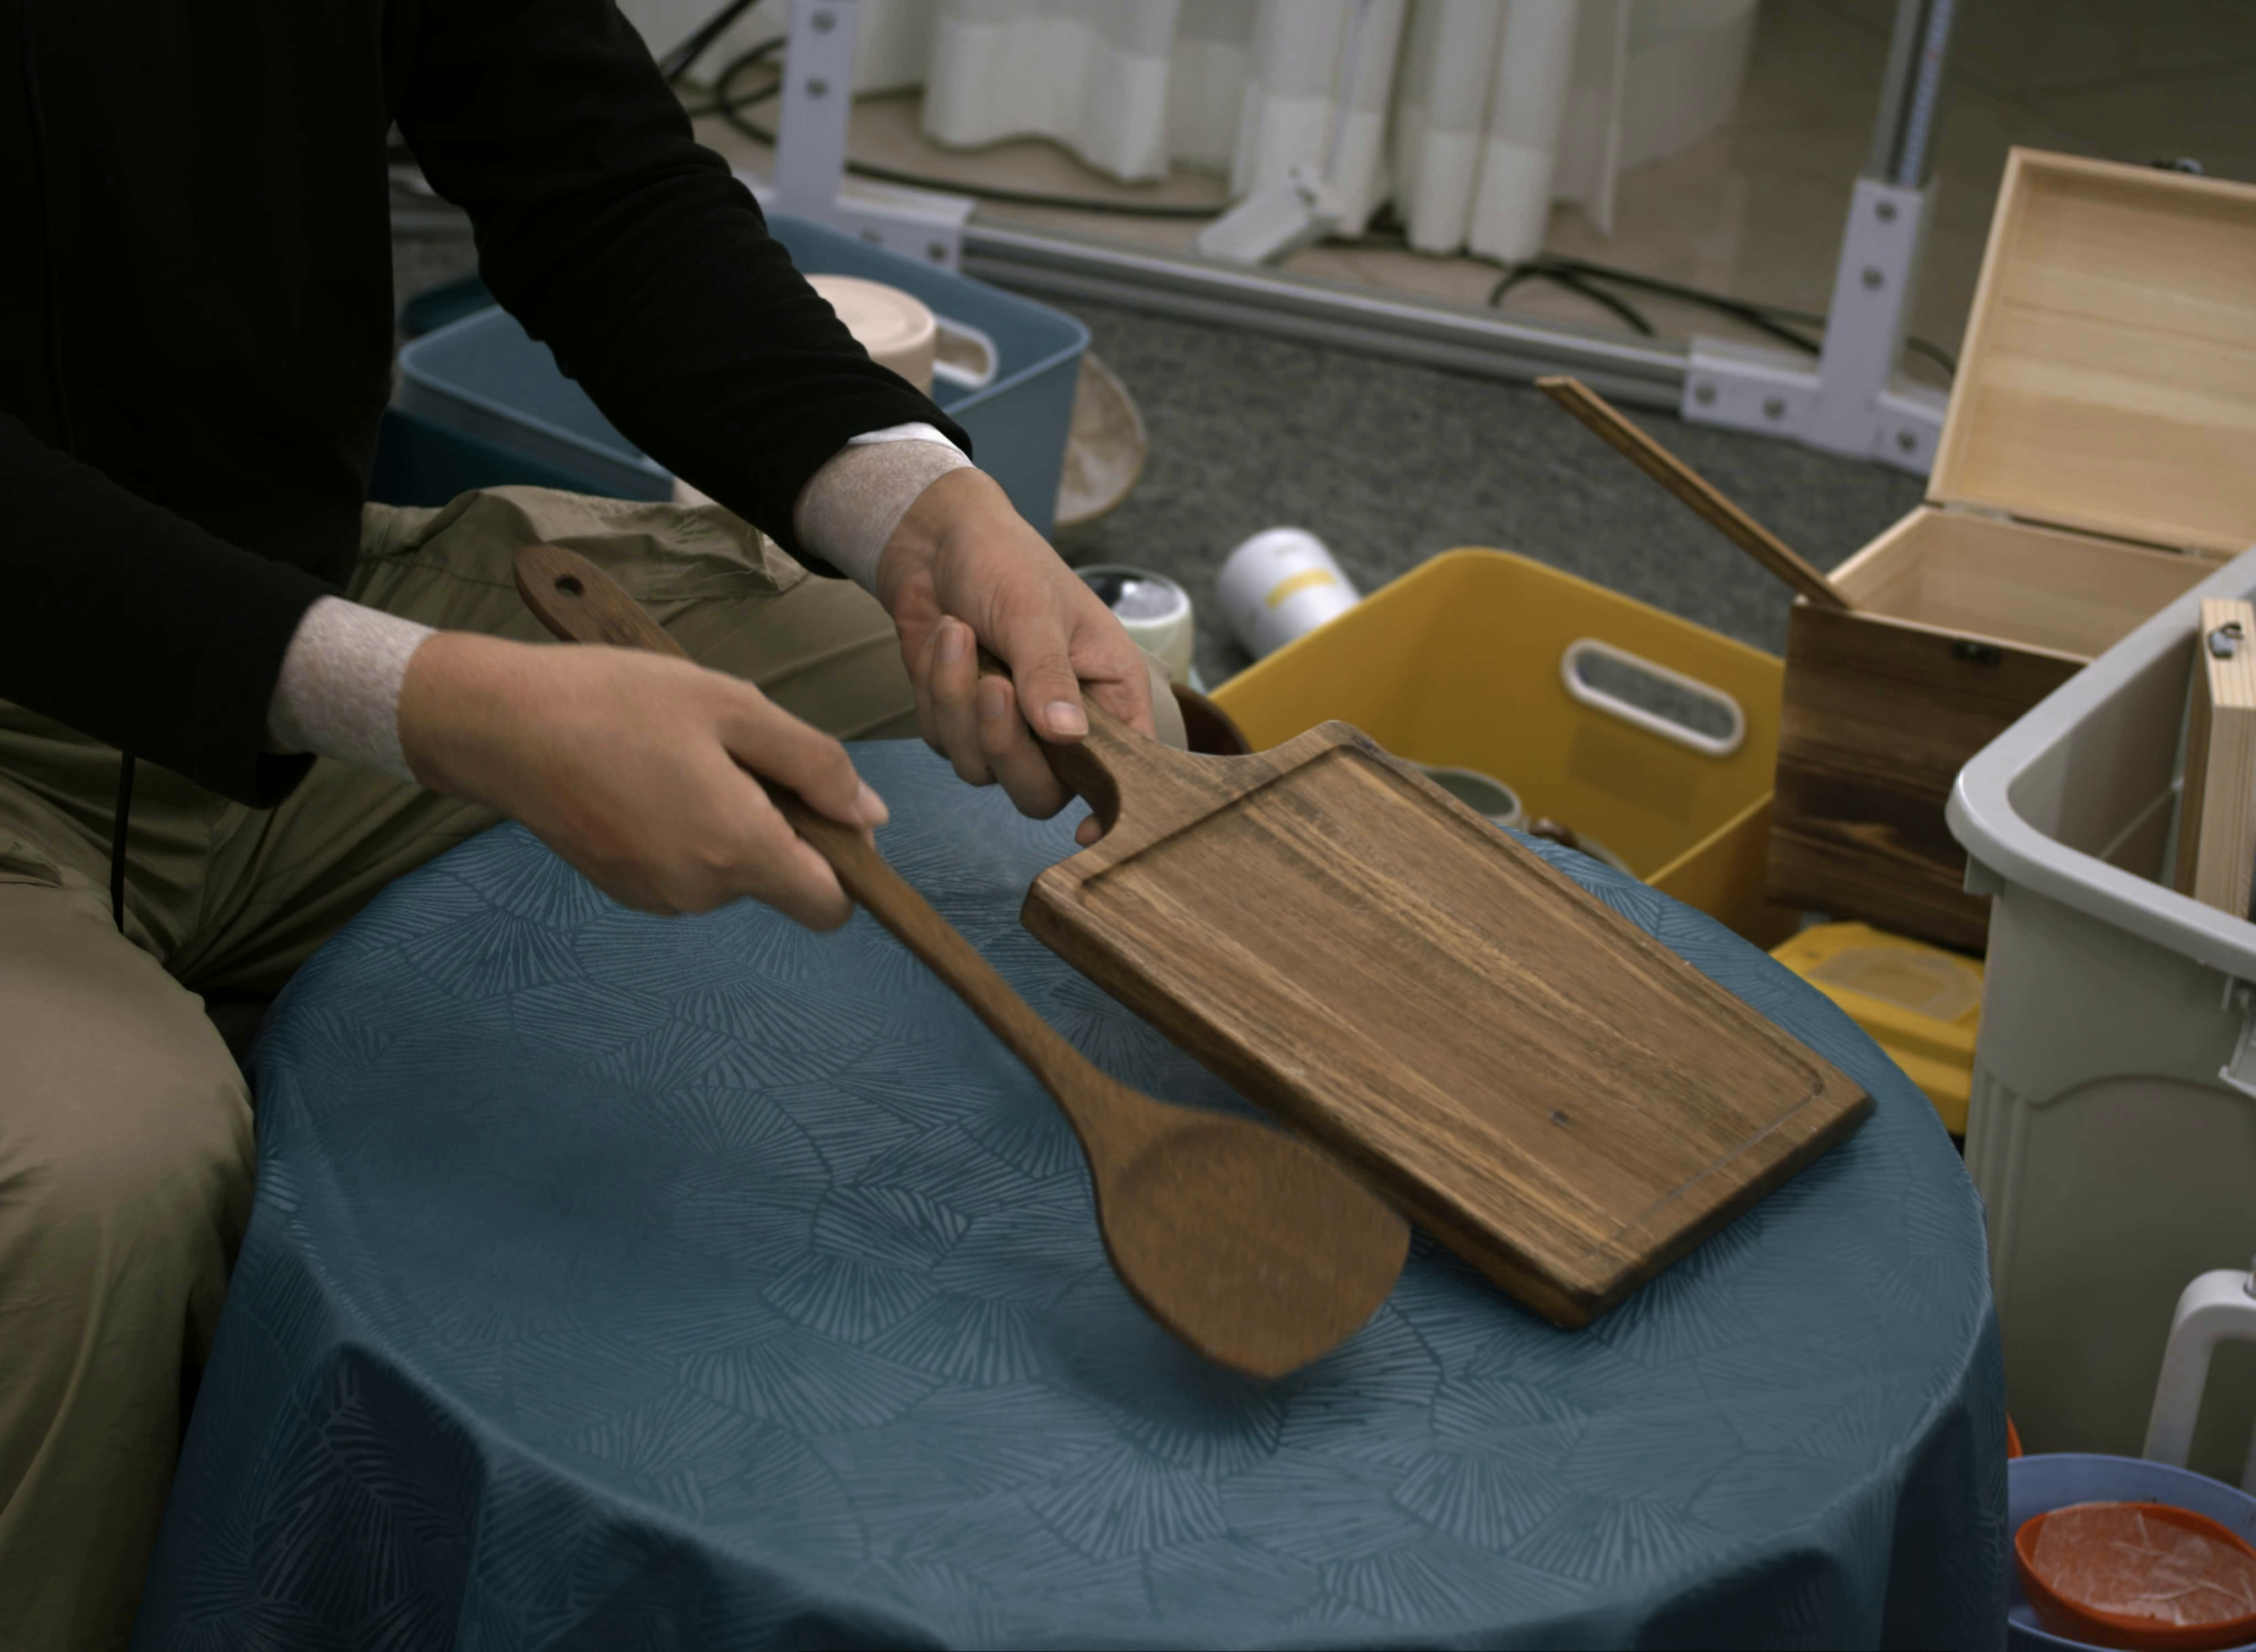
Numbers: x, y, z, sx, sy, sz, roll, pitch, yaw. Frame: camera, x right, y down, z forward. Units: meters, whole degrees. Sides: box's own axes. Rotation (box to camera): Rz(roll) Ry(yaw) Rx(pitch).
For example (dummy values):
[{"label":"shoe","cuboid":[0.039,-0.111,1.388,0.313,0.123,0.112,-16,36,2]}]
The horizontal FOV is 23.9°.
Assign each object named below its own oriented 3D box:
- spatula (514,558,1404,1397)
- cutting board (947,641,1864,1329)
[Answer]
[{"label":"spatula","cuboid":[-0.067,0.039,1.738,0.387,0.016,0.096,44,51,14]},{"label":"cutting board","cuboid":[0.074,0.036,1.879,0.354,0.023,0.200,36,37,22]}]
